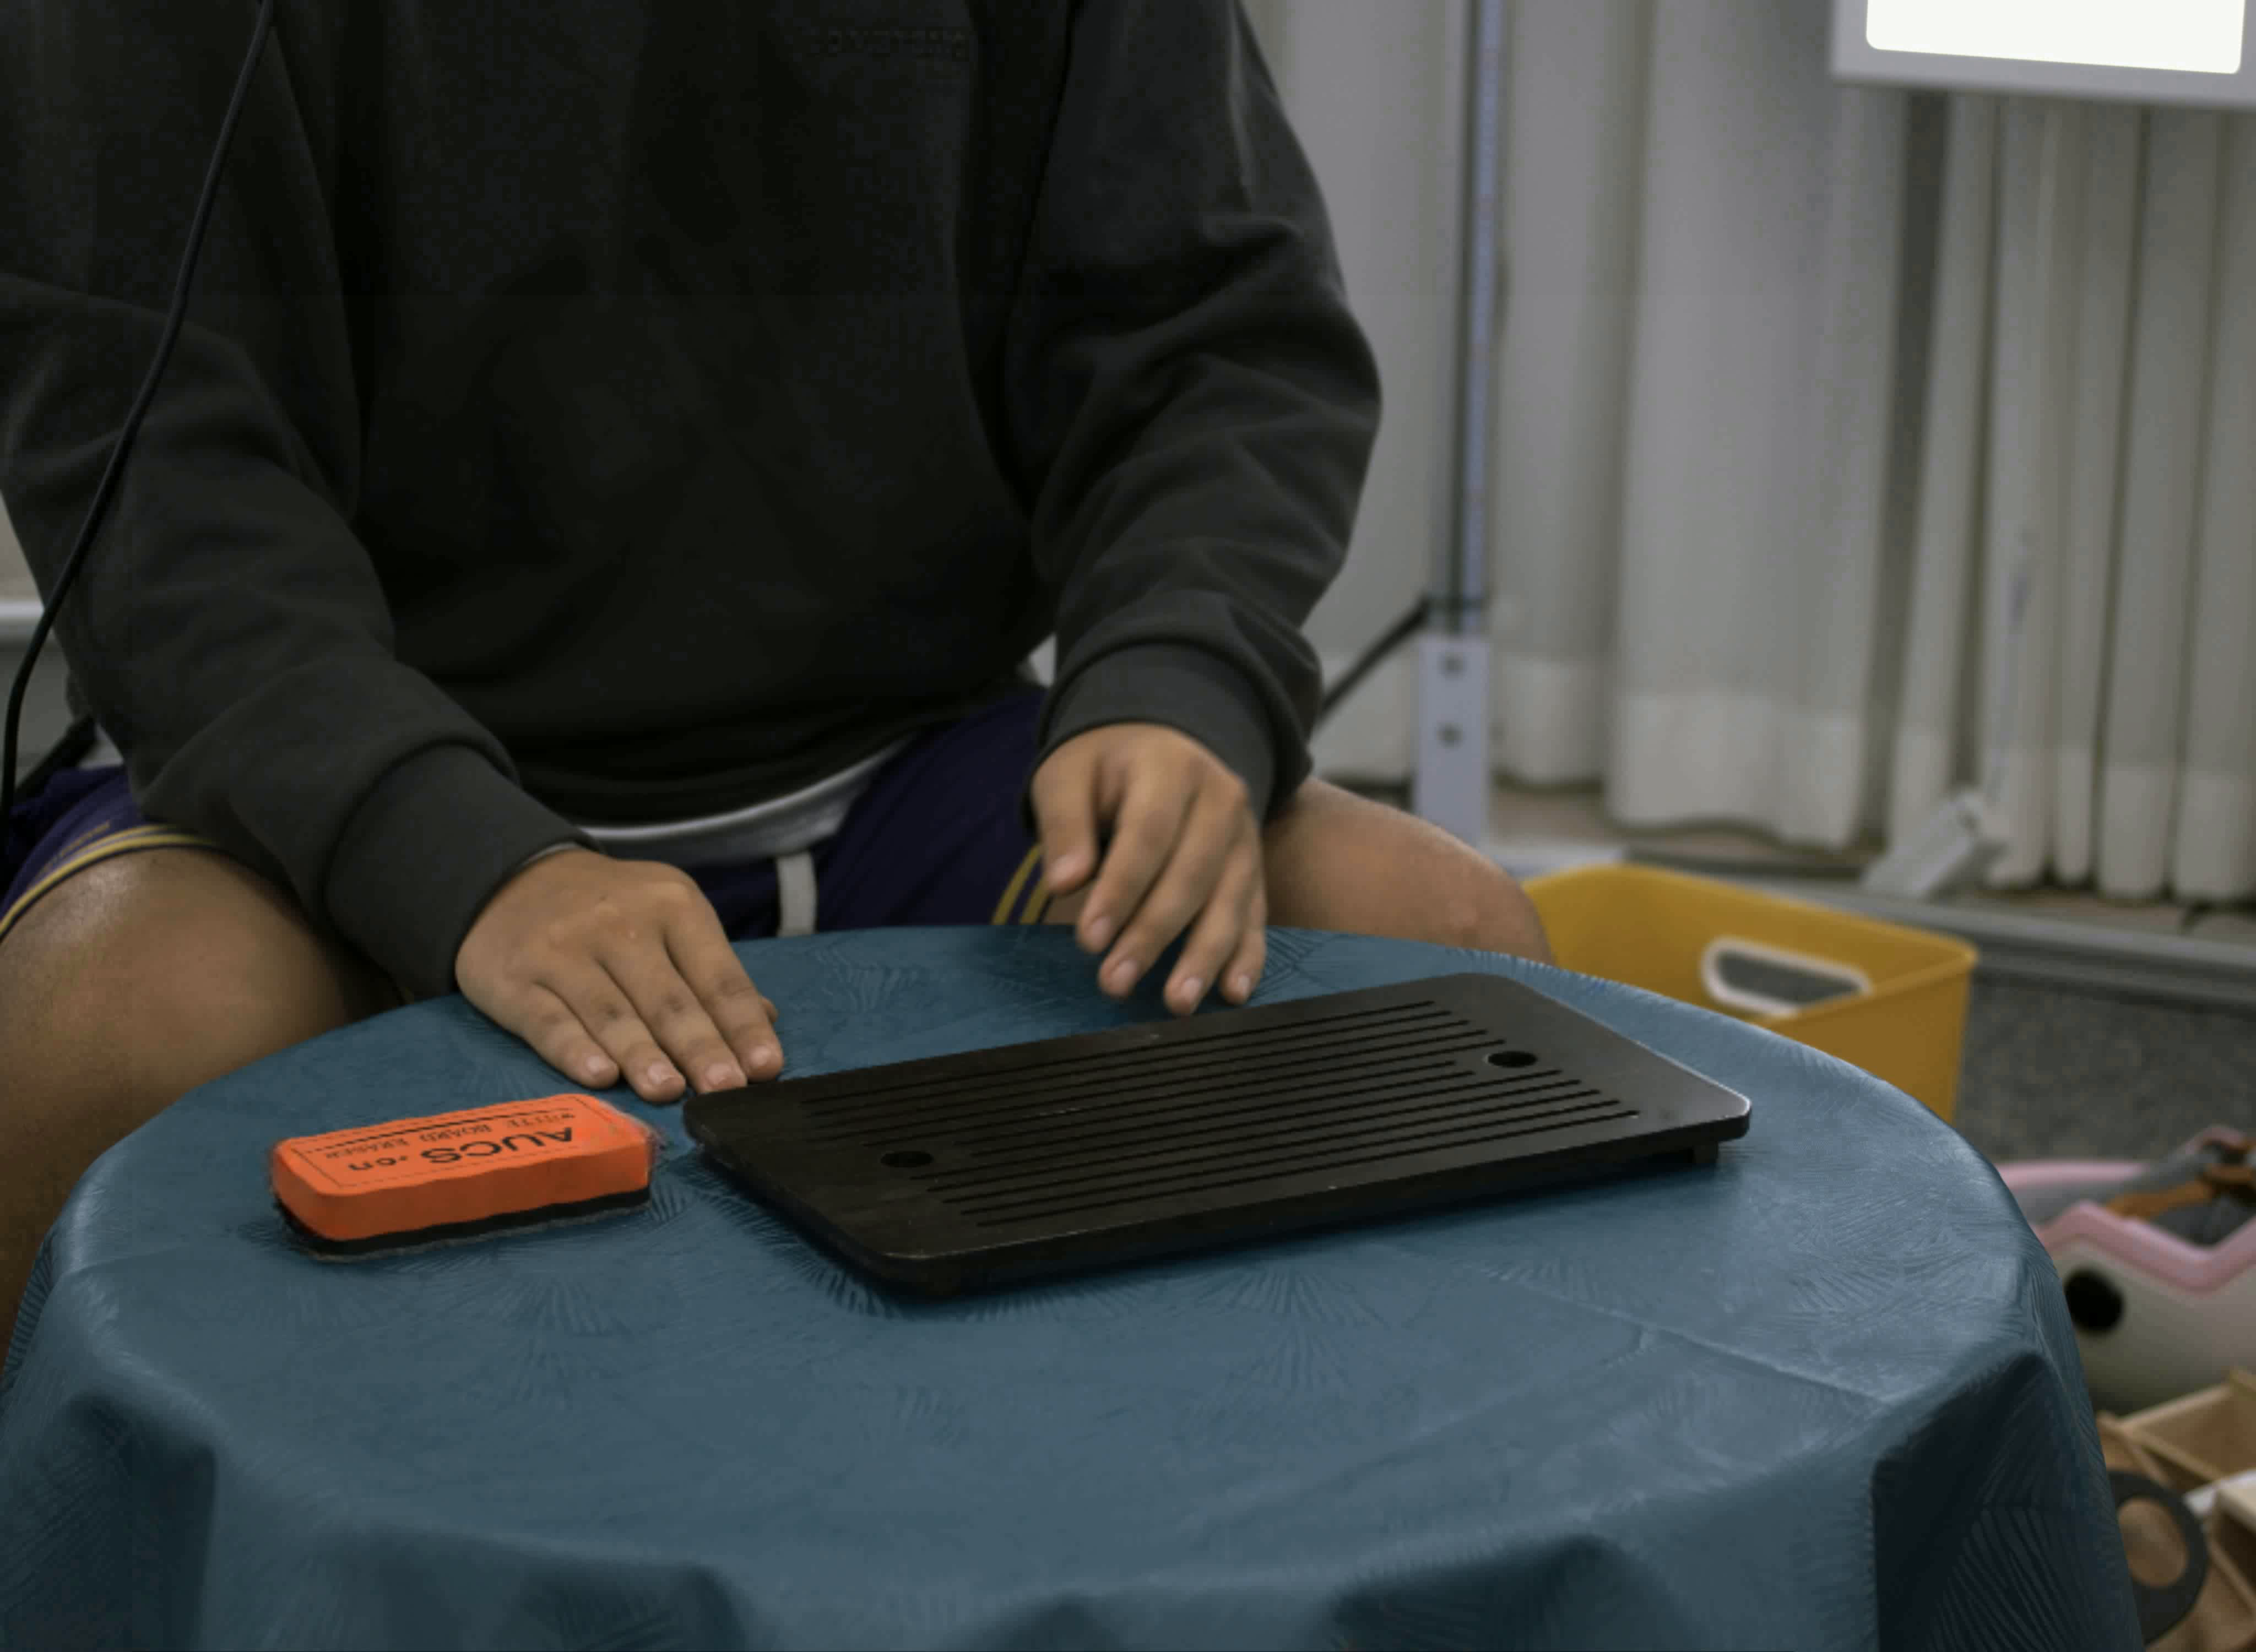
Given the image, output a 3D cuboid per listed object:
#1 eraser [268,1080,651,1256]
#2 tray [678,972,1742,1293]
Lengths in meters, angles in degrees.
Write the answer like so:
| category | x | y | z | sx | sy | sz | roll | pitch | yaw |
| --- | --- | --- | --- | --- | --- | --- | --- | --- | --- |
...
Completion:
| category | x | y | z | sx | sy | sz | roll | pitch | yaw |
| --- | --- | --- | --- | --- | --- | --- | --- | --- | --- |
| eraser | -0.202 | 0.103 | 1.594 | 0.108 | 0.023 | 0.058 | -10 | 19 | -29 |
| tray | 0.026 | 0.094 | 1.656 | 0.307 | 0.019 | 0.168 | -8 | 18 | -27 |
